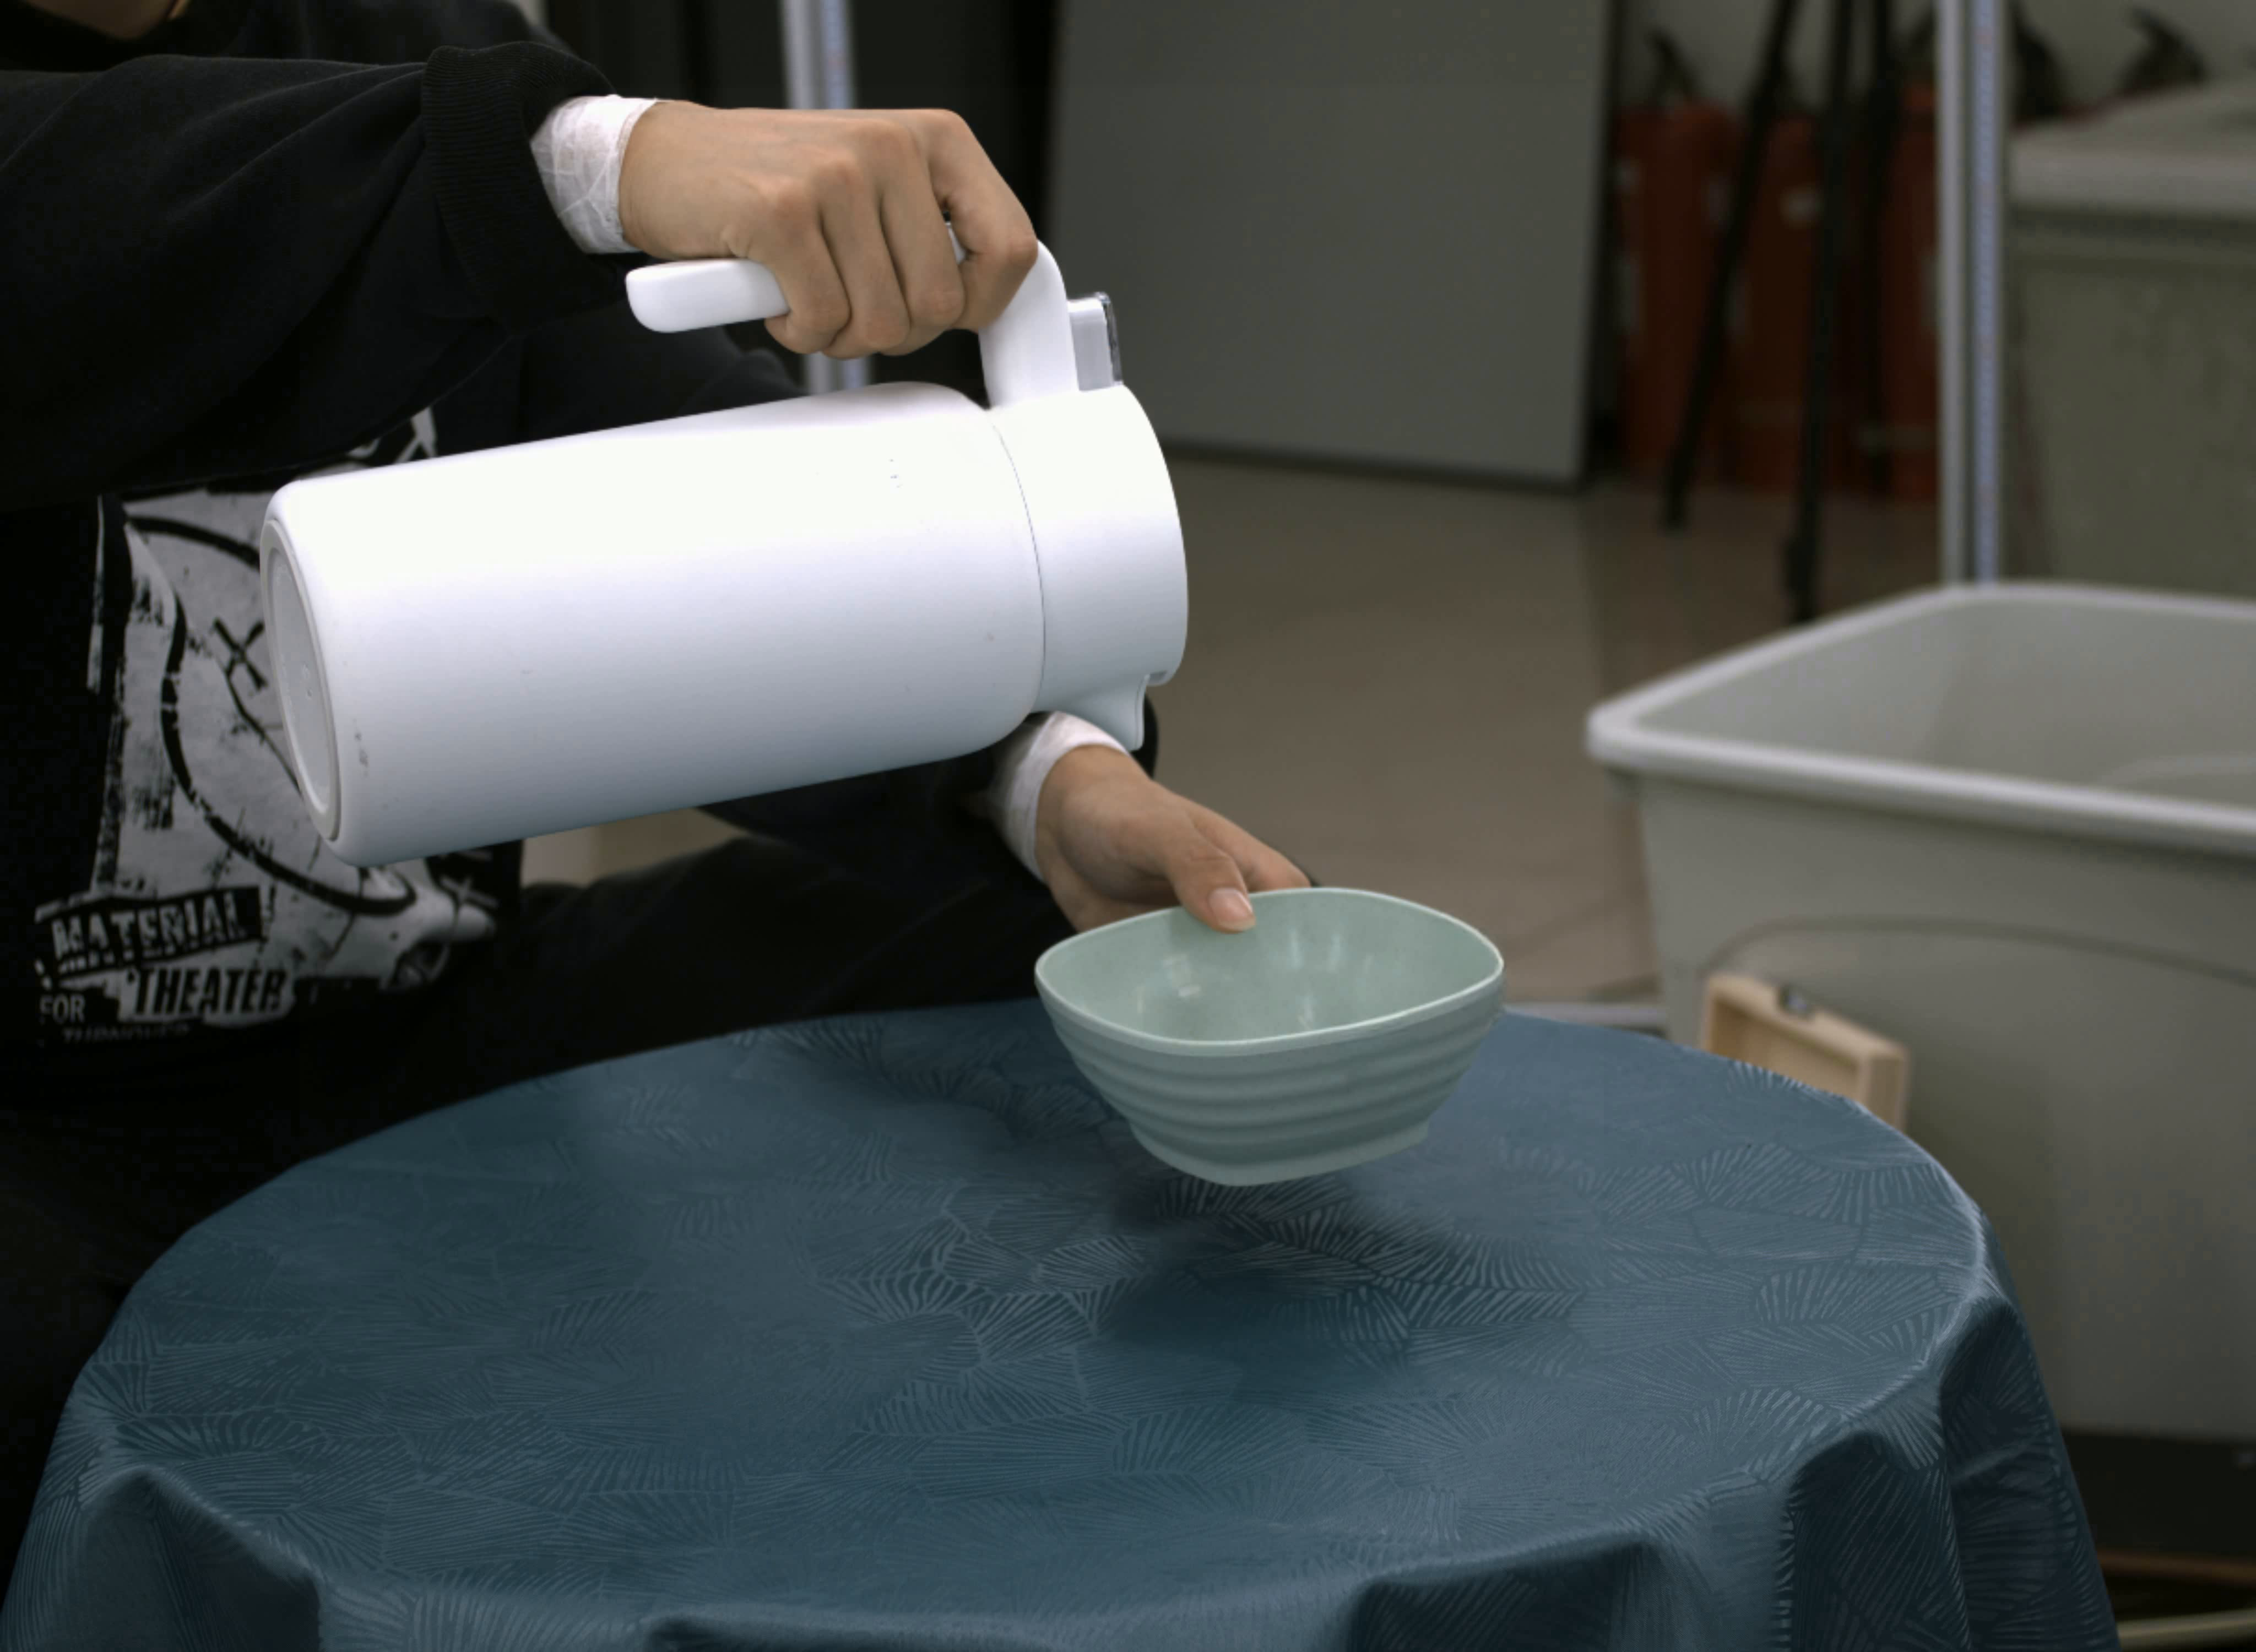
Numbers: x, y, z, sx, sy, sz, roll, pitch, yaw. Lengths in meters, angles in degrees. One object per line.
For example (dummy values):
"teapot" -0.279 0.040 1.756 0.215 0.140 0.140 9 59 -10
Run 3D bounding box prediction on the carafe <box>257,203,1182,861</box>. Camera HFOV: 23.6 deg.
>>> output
"carafe" -0.124 -0.087 1.626 0.264 0.174 0.125 -11 12 -13

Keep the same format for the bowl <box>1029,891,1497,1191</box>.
"bowl" 0.044 0.070 1.692 0.149 0.059 0.152 -5 16 0
